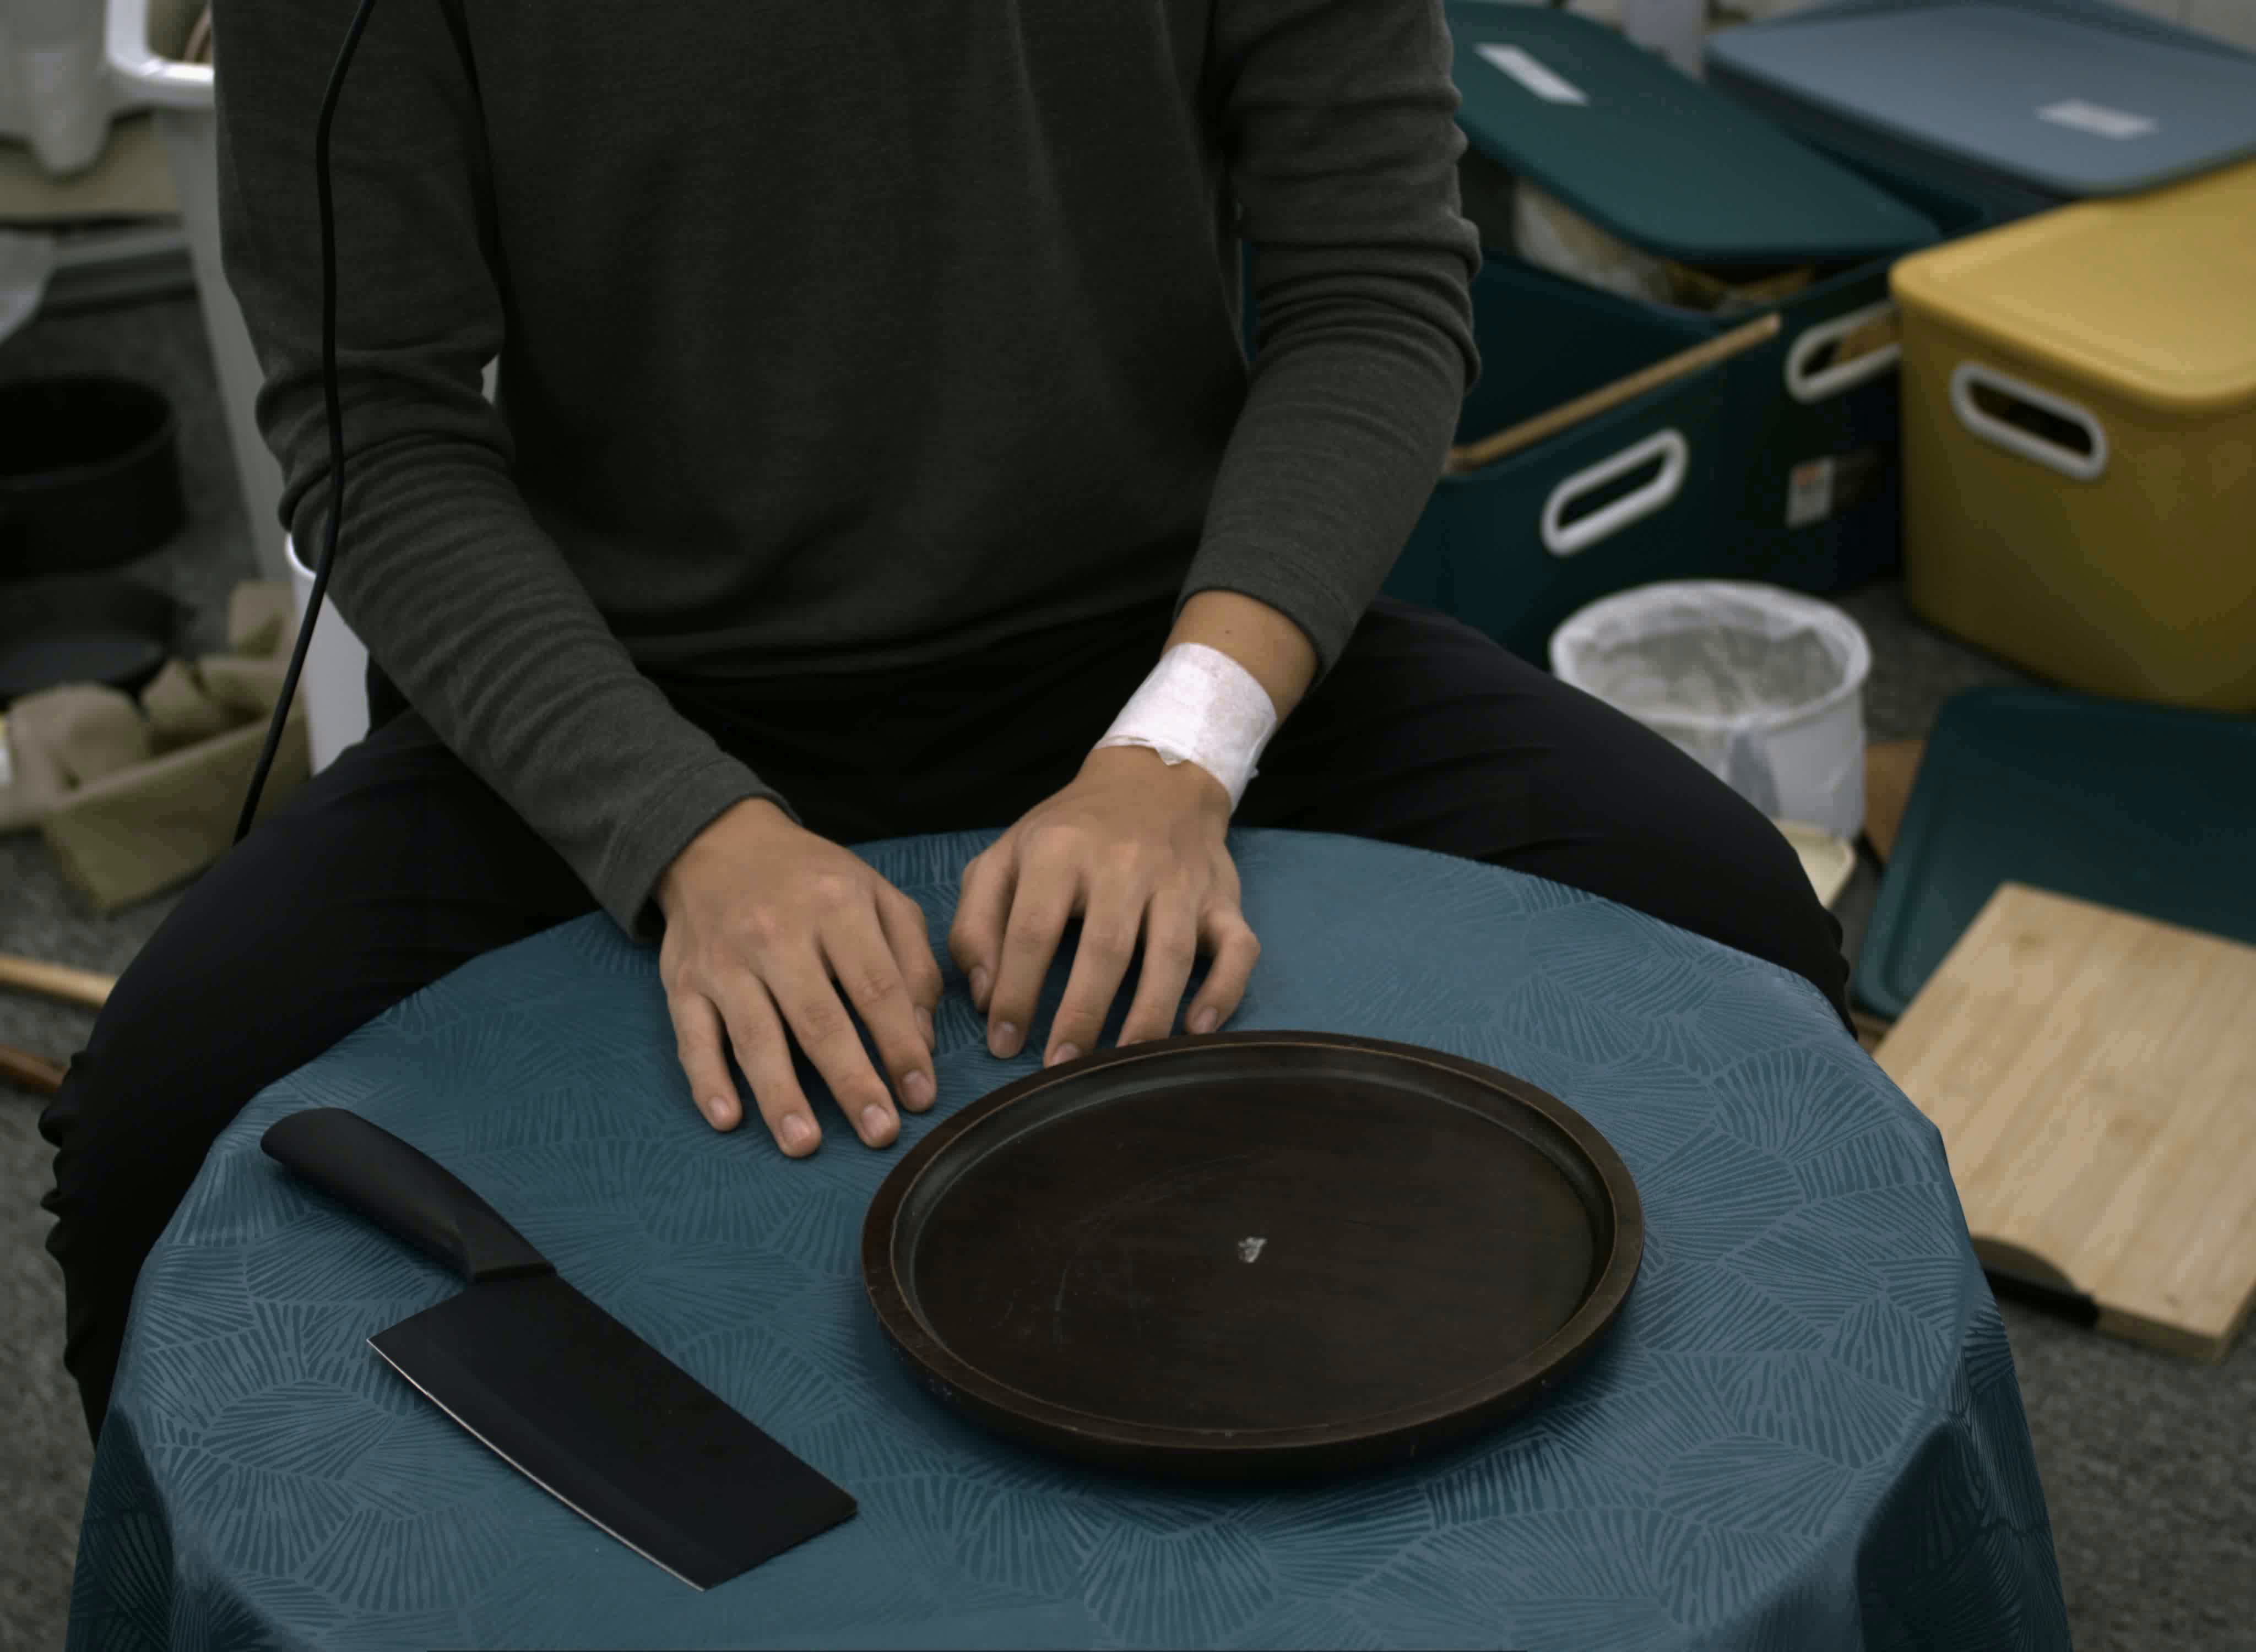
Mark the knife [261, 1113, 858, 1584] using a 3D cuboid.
[{"bbox_3d":[-0.195,0.163,1.786,0.081,0.020,0.303,-21,34,-29],"label":"knife"}]

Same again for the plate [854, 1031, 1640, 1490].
[{"bbox_3d":[0.038,0.137,1.804,0.253,0.029,0.259,-3,28,2],"label":"plate"}]
